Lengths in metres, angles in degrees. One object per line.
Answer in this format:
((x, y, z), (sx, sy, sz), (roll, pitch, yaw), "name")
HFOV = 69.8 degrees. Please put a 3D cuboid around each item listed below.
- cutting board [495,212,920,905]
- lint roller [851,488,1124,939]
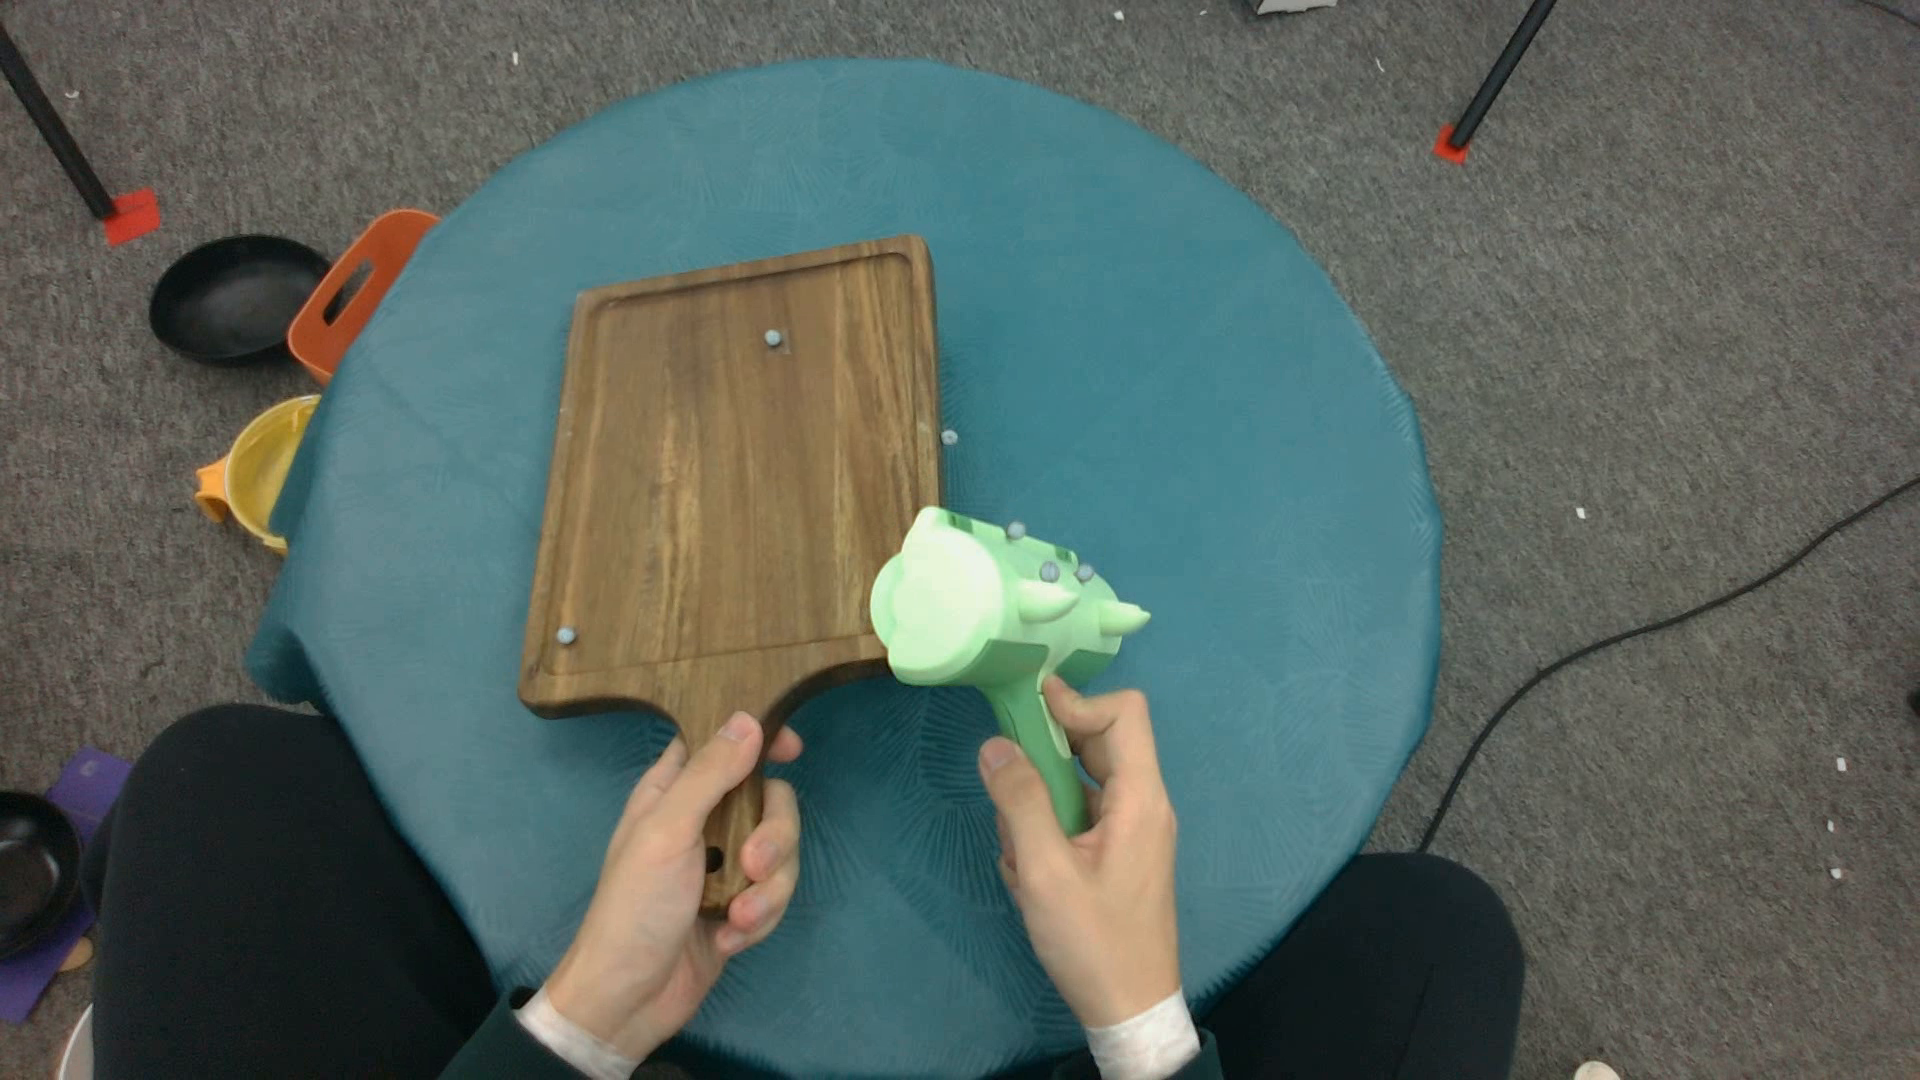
((-0.117, -0.005, 0.645), (0.201, 0.023, 0.353), (-10, 58, 7), "cutting board")
((0.037, 0.073, 0.597), (0.082, 0.199, 0.183), (-24, 77, 16), "lint roller")
